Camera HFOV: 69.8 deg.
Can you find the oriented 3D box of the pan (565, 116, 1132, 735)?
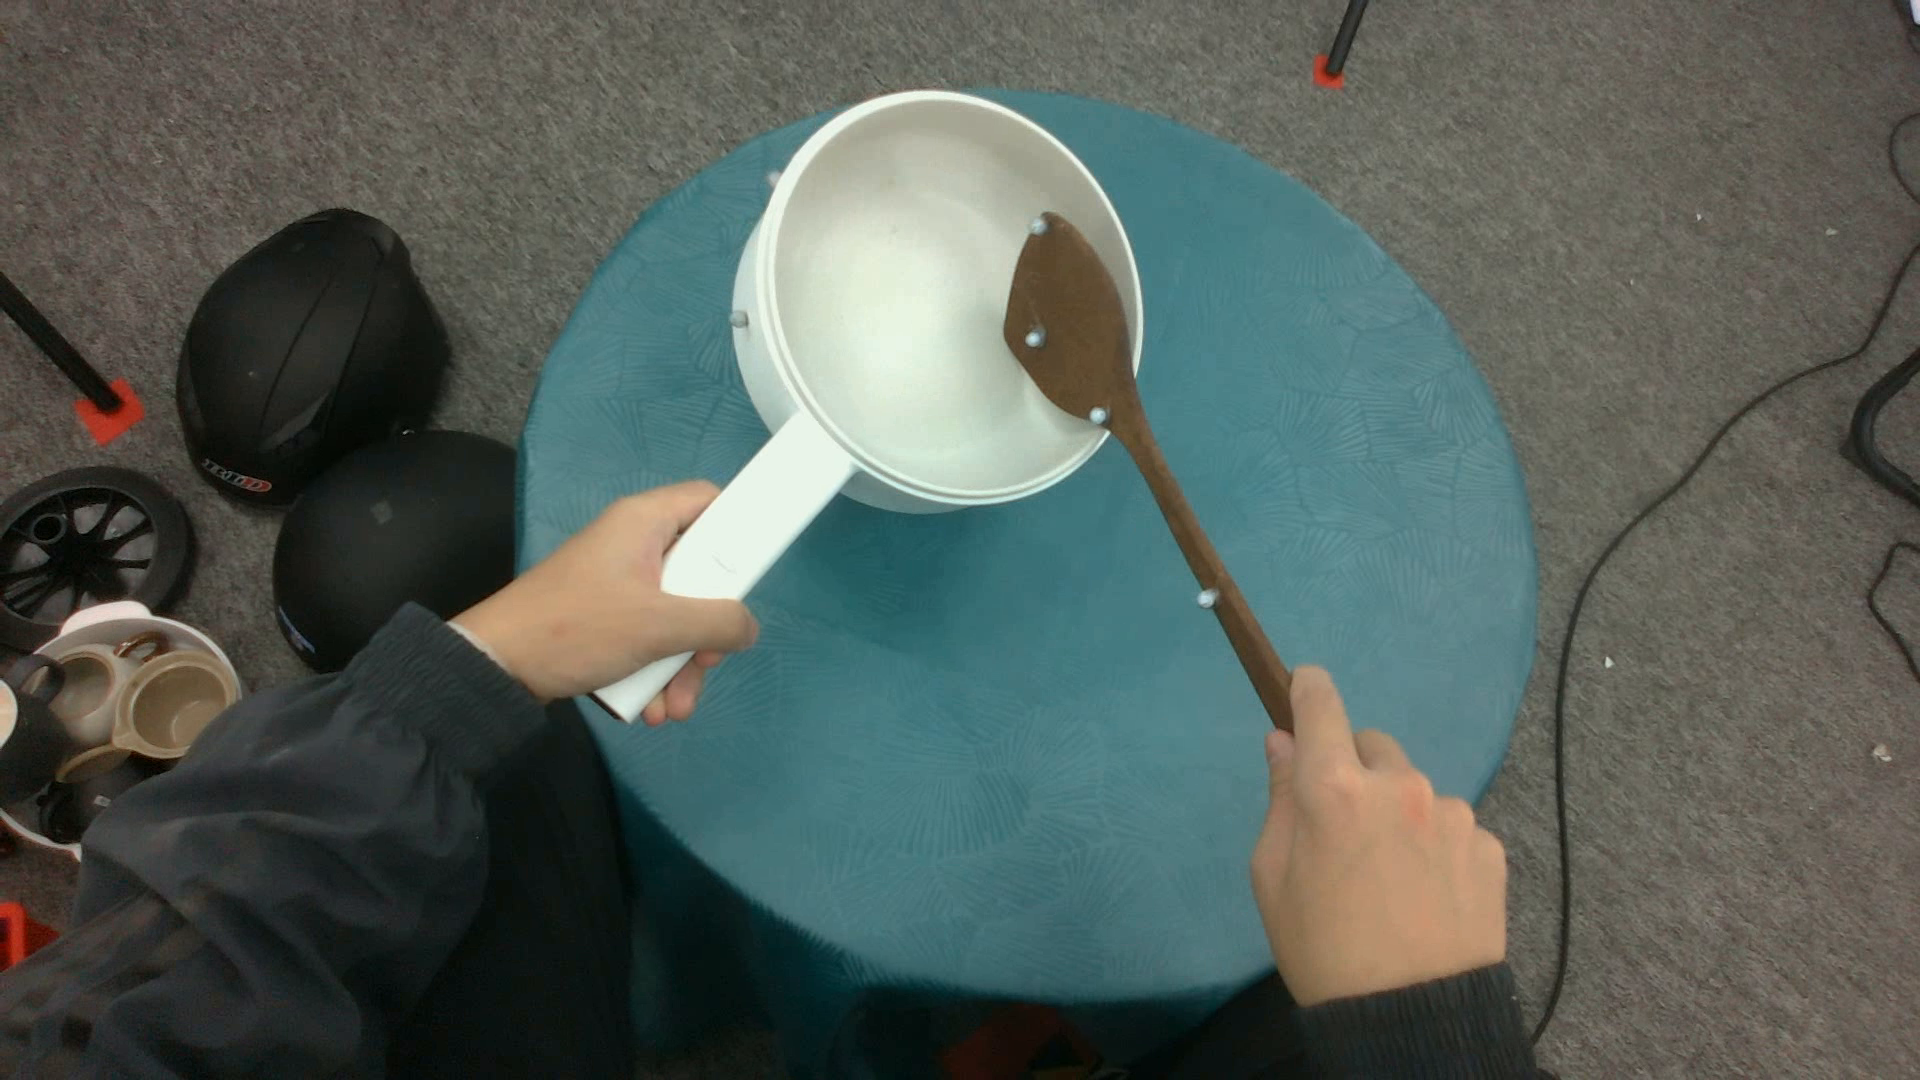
[{"bbox_3d":[-0.065,-0.051,0.698,0.201,0.102,0.356,43,71,-12],"label":"pan"}]

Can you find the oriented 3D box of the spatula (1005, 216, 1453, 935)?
[{"bbox_3d":[0.111,0.004,0.633,0.016,0.095,0.387,-12,58,-25],"label":"spatula"}]
